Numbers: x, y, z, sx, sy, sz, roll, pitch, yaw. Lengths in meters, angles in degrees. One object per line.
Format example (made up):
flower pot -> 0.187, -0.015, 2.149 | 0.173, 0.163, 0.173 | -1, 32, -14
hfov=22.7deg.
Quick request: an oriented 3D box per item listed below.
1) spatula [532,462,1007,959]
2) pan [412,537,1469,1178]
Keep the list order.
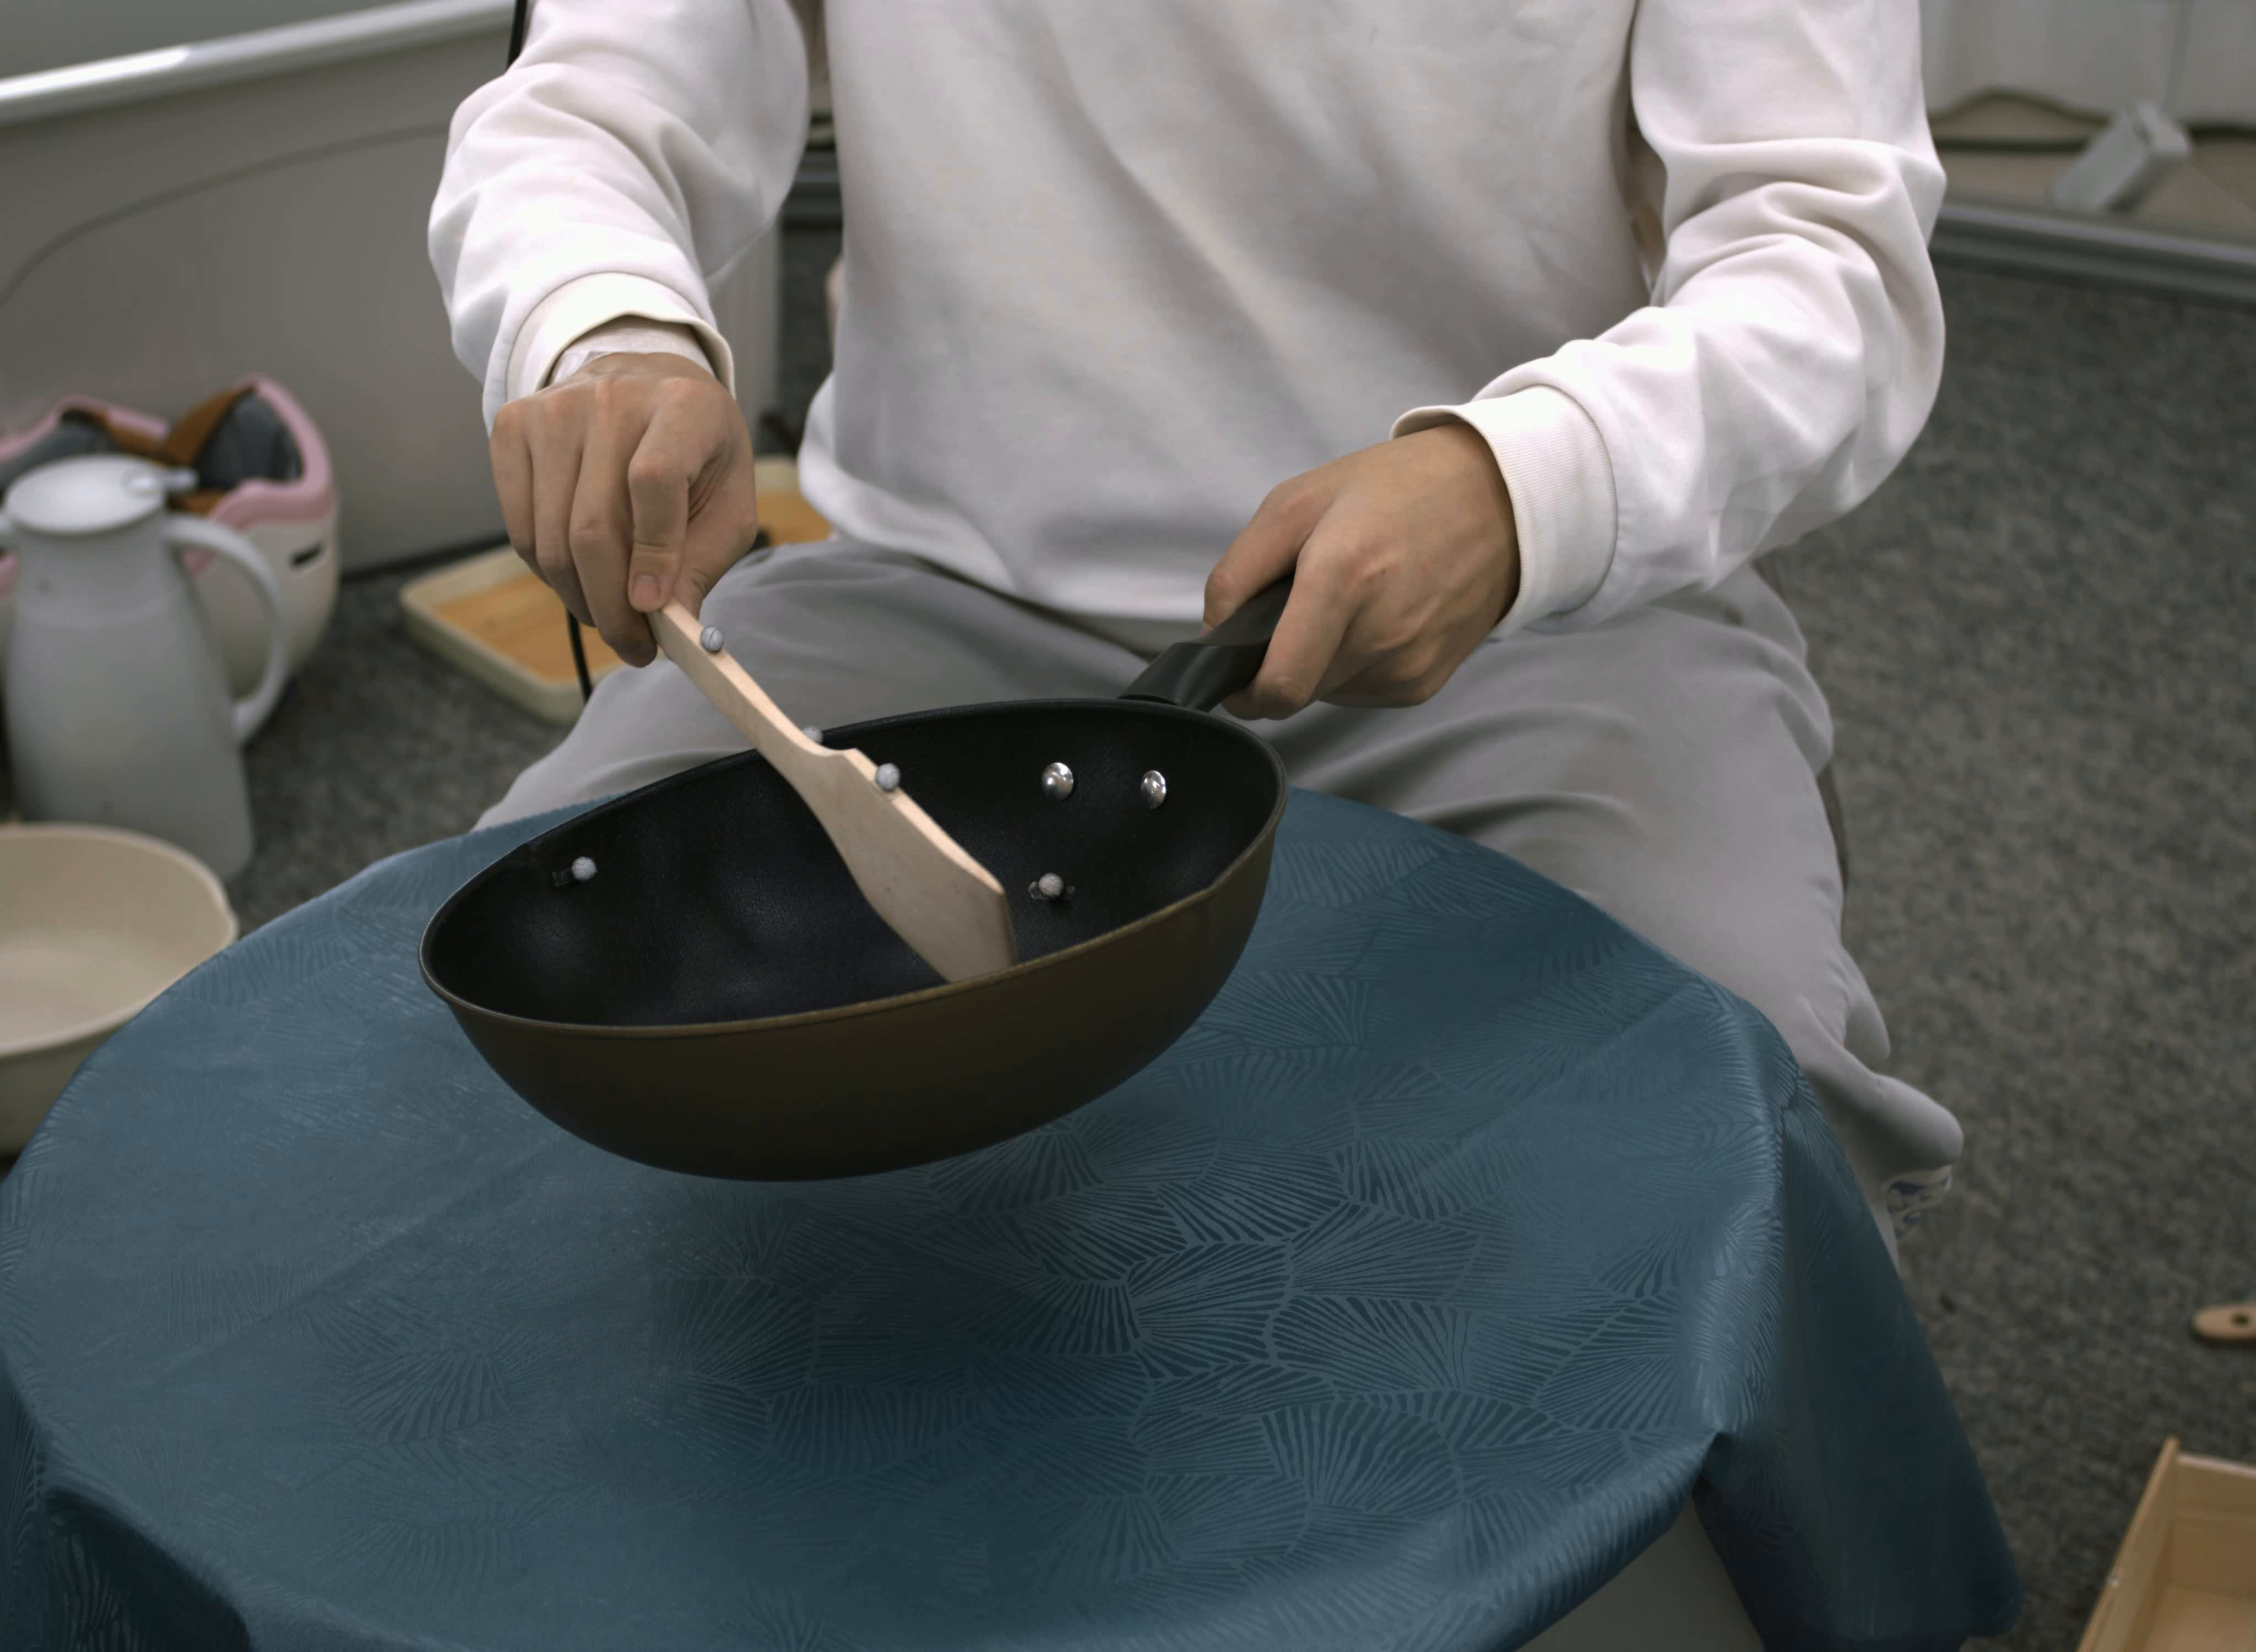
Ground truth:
spatula -> -0.122, -0.038, 1.861 | 0.011, 0.071, 0.295 | -29, 49, -20
pan -> -0.026, 0.012, 1.852 | 0.285, 0.086, 0.470 | 3, 22, 38
